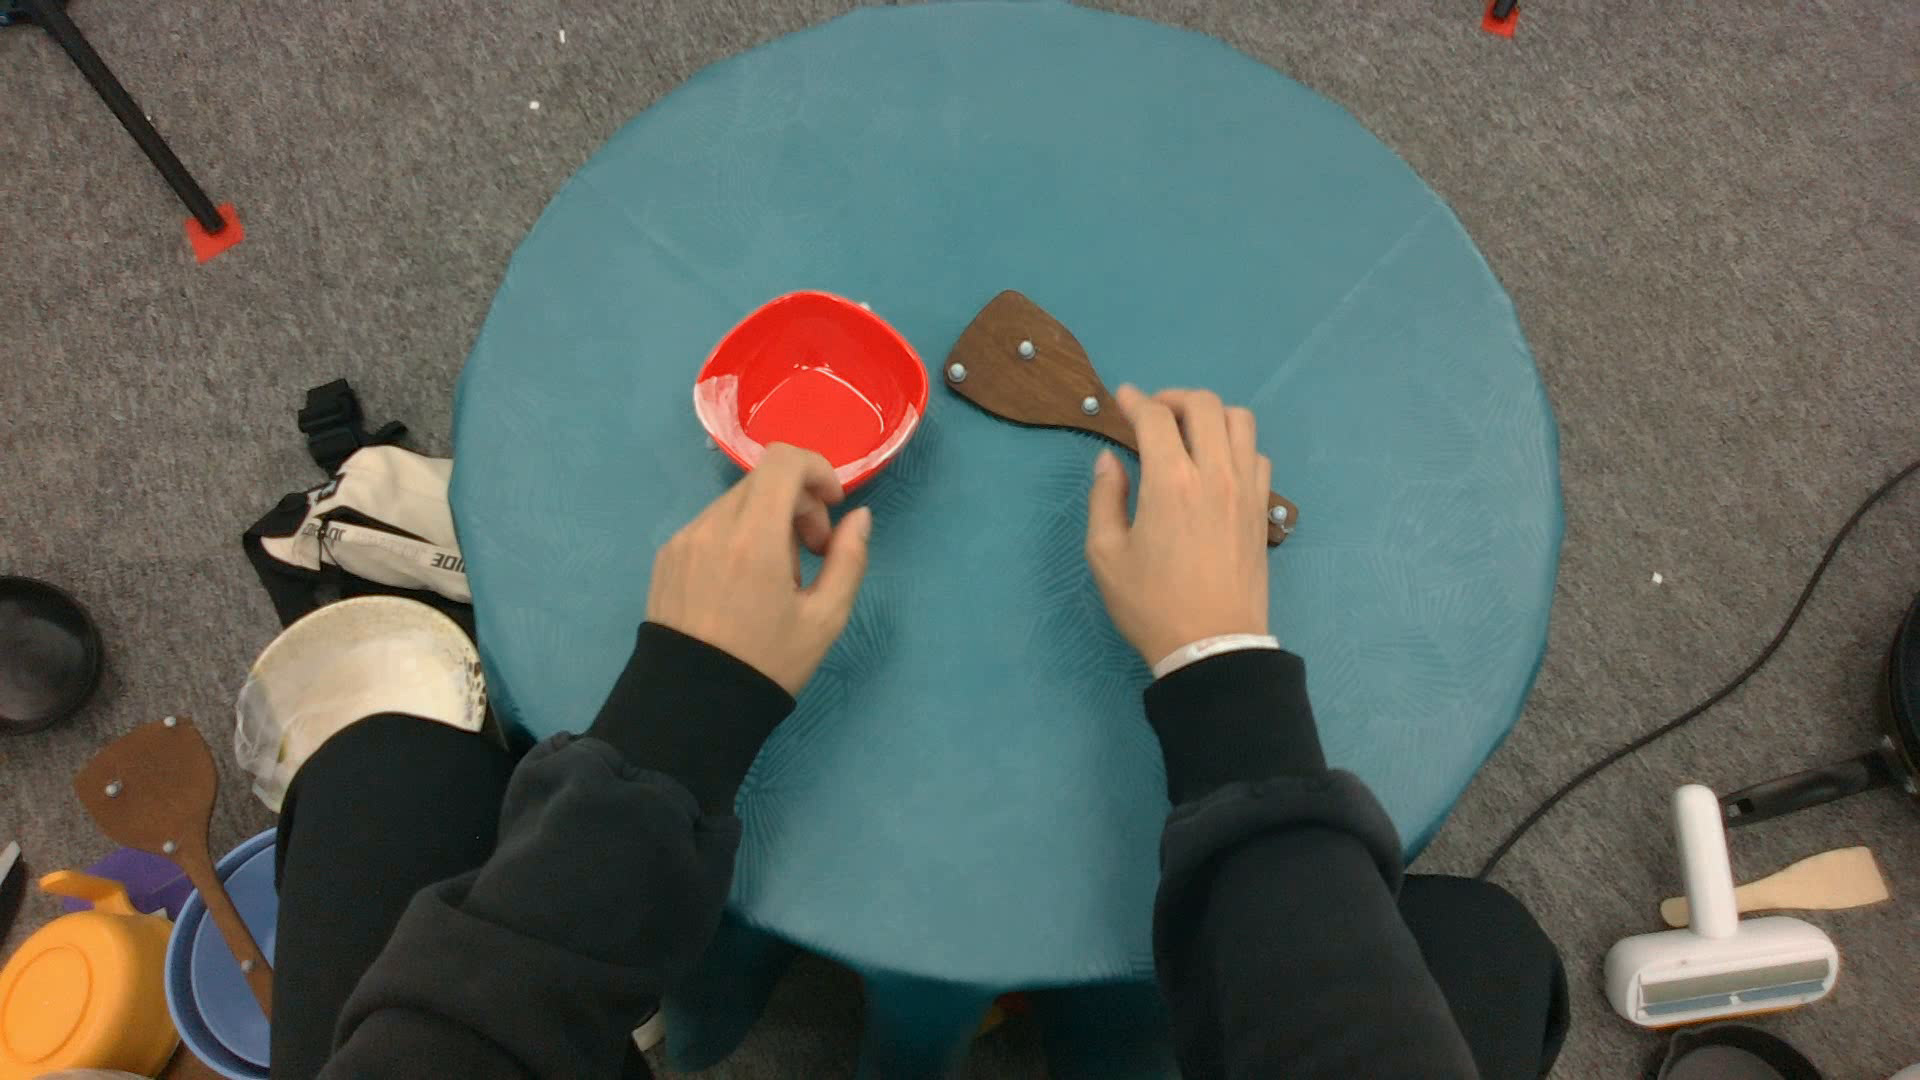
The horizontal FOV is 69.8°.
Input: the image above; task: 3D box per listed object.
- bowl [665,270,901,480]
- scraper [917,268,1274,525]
[{"bbox_3d":[-0.091,-0.078,0.718,0.119,0.051,0.119,2,64,-4],"label":"bowl"},{"bbox_3d":[0.077,-0.072,0.751,0.211,0.011,0.076,33,69,9],"label":"scraper"}]
